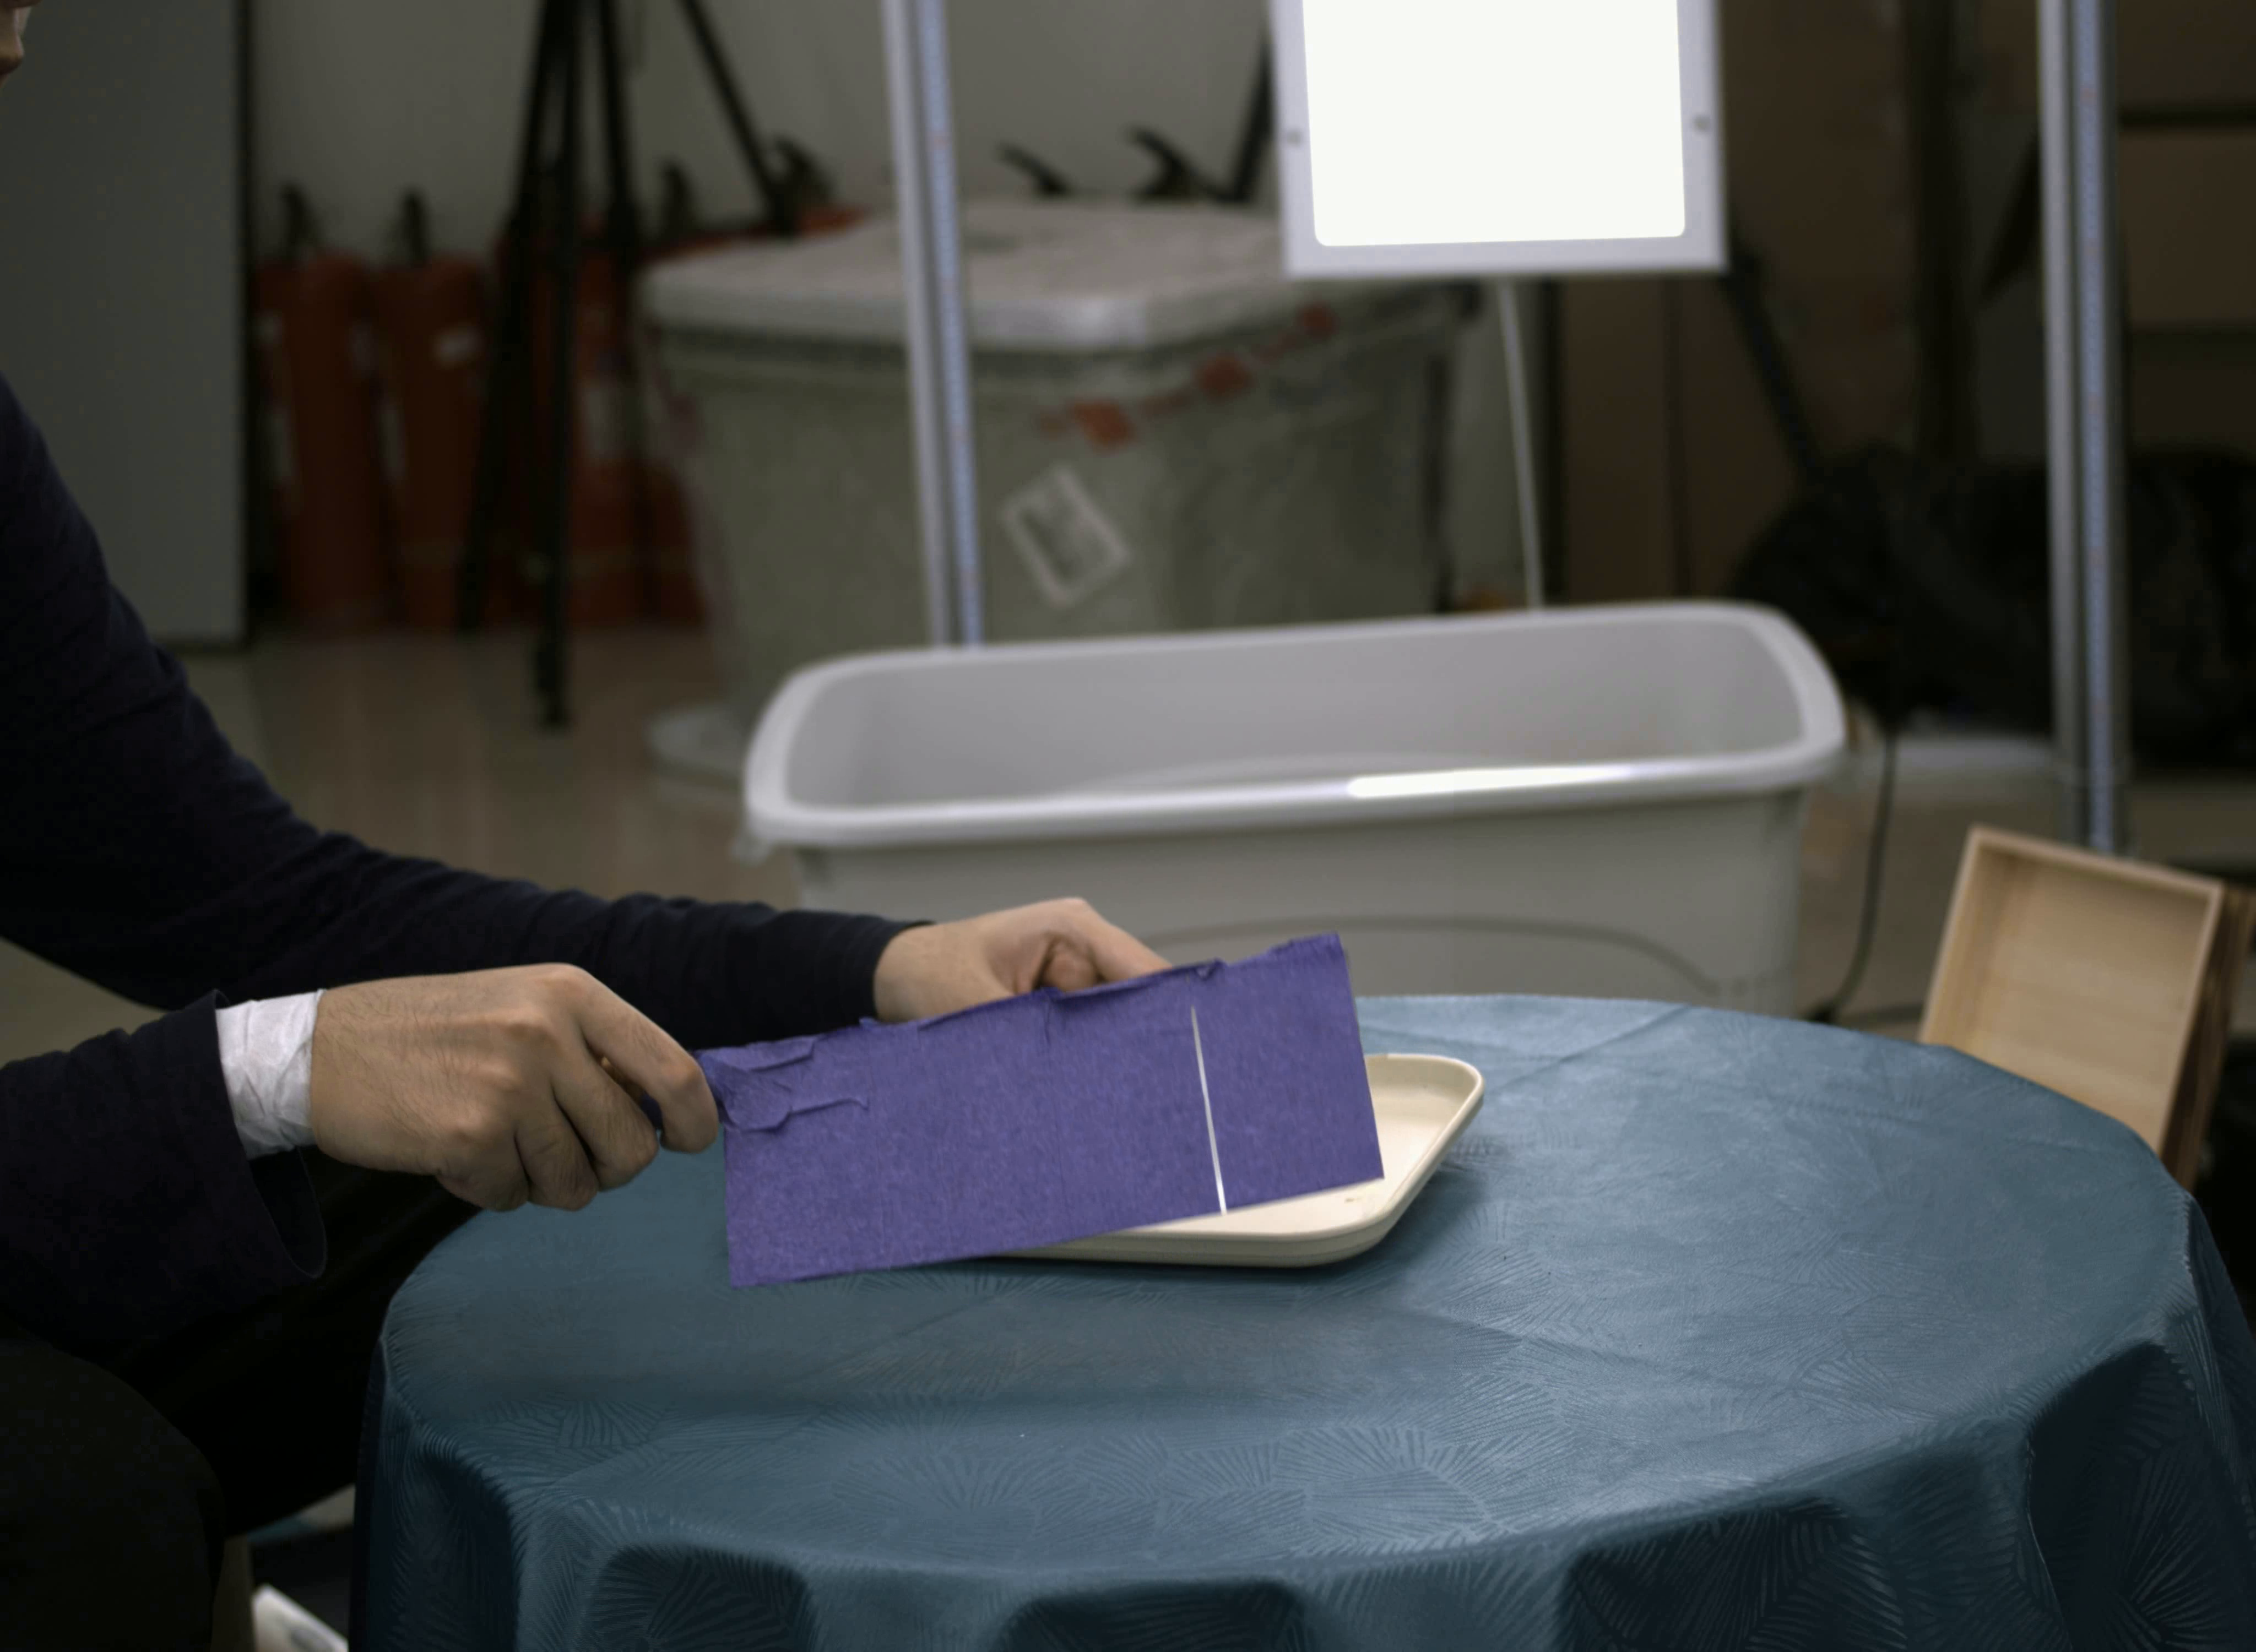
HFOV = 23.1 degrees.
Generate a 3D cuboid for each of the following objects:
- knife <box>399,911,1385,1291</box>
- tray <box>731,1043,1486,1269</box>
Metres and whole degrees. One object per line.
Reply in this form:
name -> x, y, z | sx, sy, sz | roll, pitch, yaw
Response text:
knife -> -0.077, 0.097, 1.732 | 0.317, 0.032, 0.104 | -12, 54, 10
tray -> -0.005, 0.113, 1.901 | 0.243, 0.017, 0.168 | 1, 19, 22
